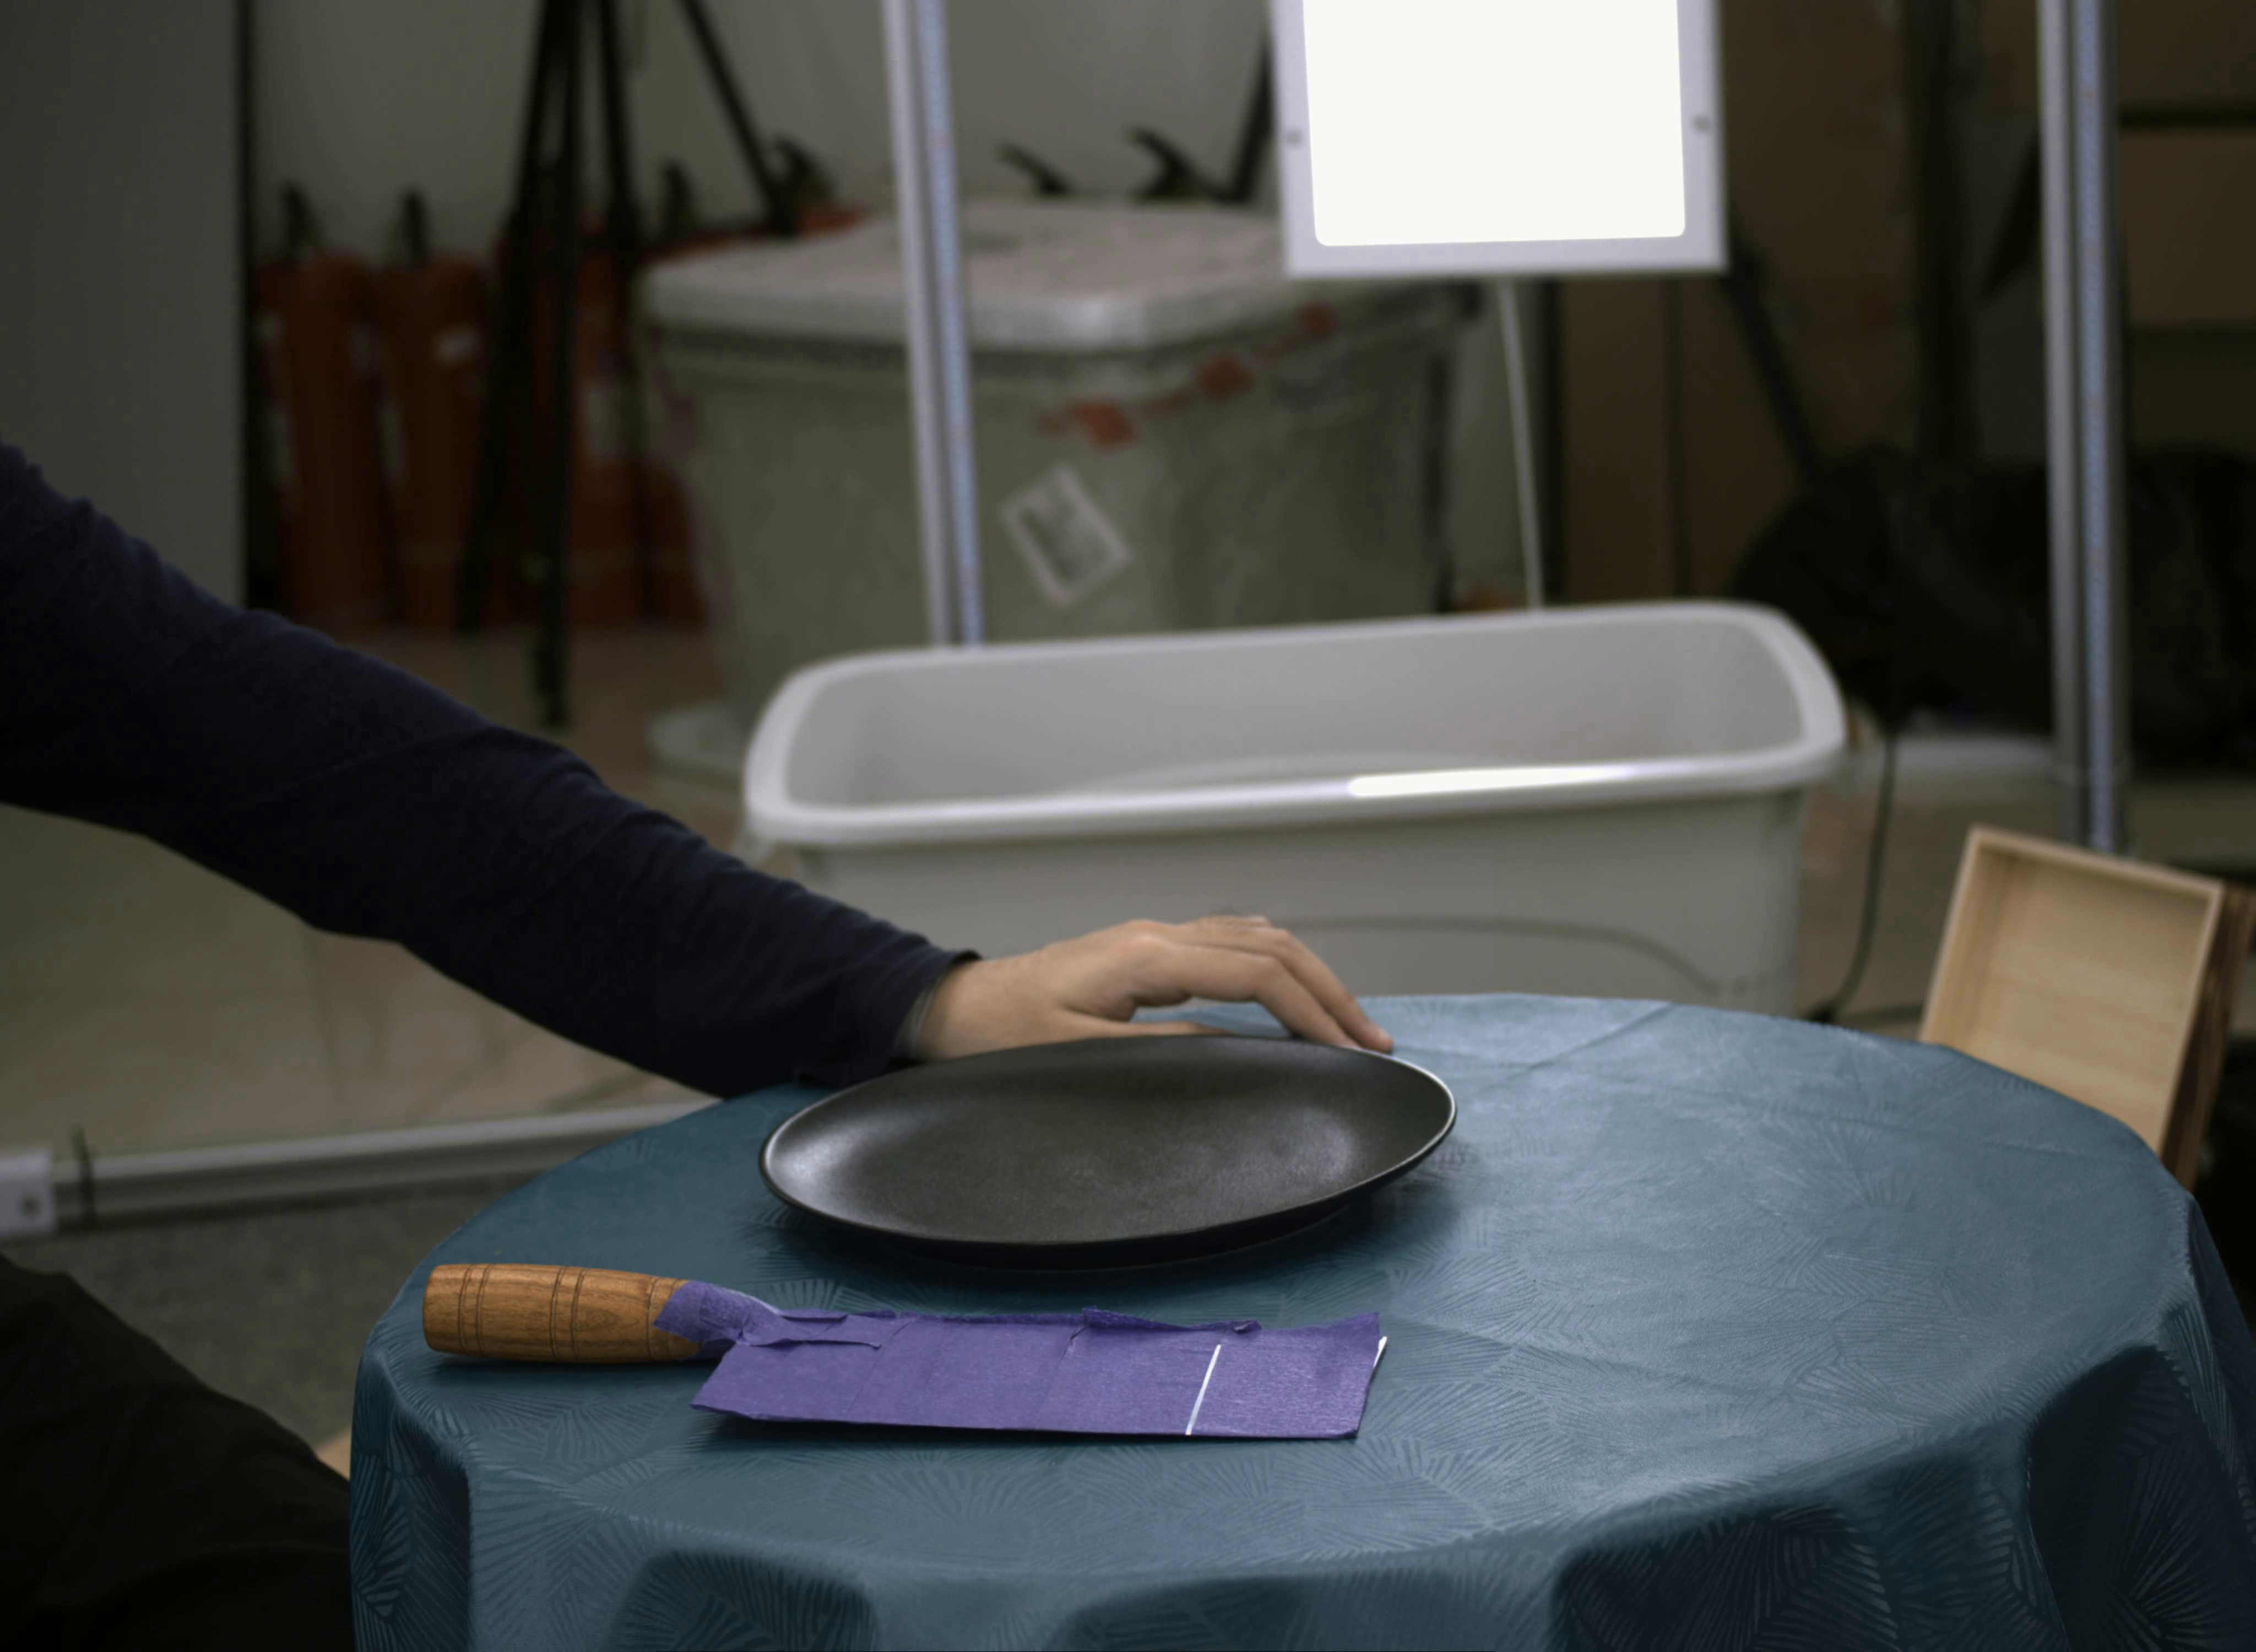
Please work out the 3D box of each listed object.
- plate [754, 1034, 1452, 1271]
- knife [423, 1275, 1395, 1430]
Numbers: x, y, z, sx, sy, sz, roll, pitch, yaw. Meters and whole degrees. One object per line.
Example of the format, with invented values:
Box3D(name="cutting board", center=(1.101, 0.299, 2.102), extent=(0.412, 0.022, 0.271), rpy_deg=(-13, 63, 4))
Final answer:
Box3D(name="plate", center=(-0.008, 0.115, 1.905), extent=(0.244, 0.023, 0.244), rpy_deg=(-5, 13, 0))
Box3D(name="knife", center=(-0.076, 0.164, 1.720), extent=(0.317, 0.032, 0.102), rpy_deg=(-2, 14, 13))
